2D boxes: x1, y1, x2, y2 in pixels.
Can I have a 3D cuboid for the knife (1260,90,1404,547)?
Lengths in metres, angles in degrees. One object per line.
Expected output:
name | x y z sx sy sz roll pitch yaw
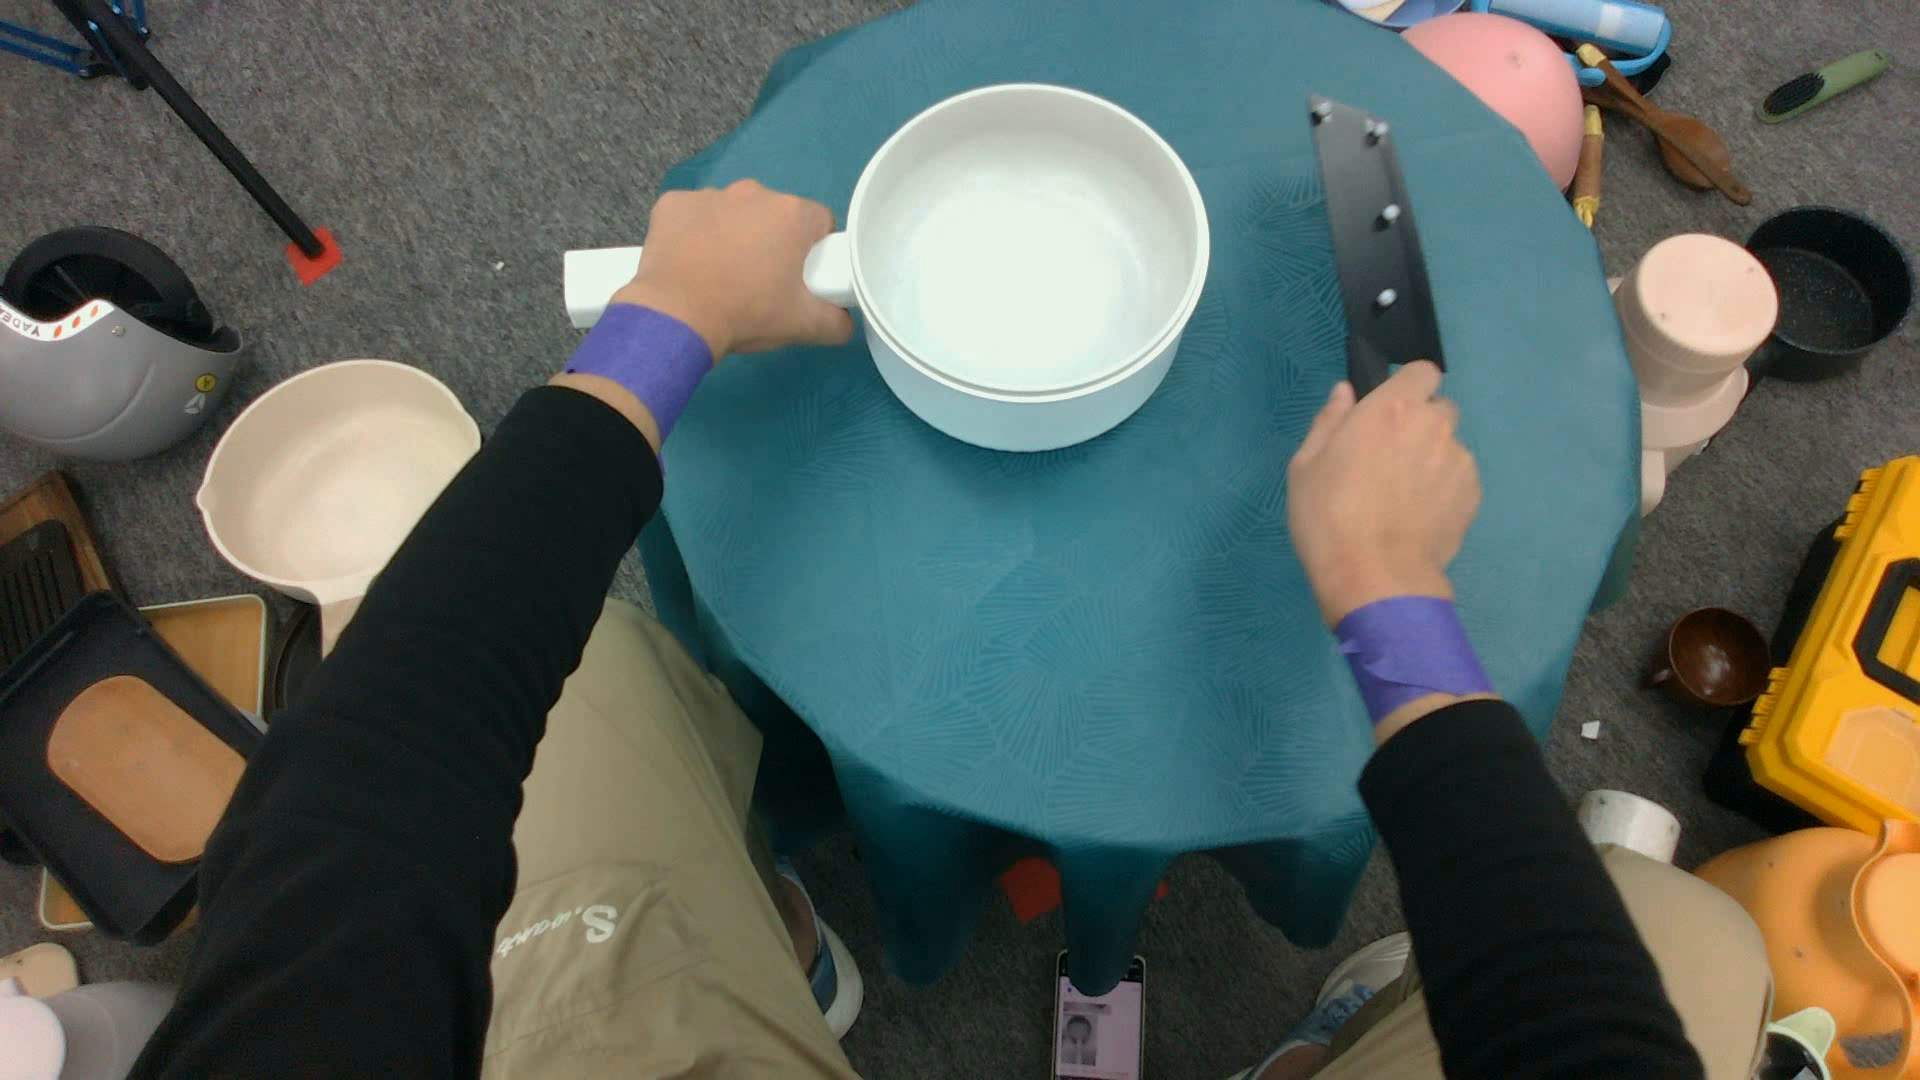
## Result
knife | 0.215 -0.134 0.773 0.081 0.021 0.303 11 61 -19

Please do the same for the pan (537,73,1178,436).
pan | -0.056 -0.152 0.801 0.355 0.102 0.202 -6 70 -2
